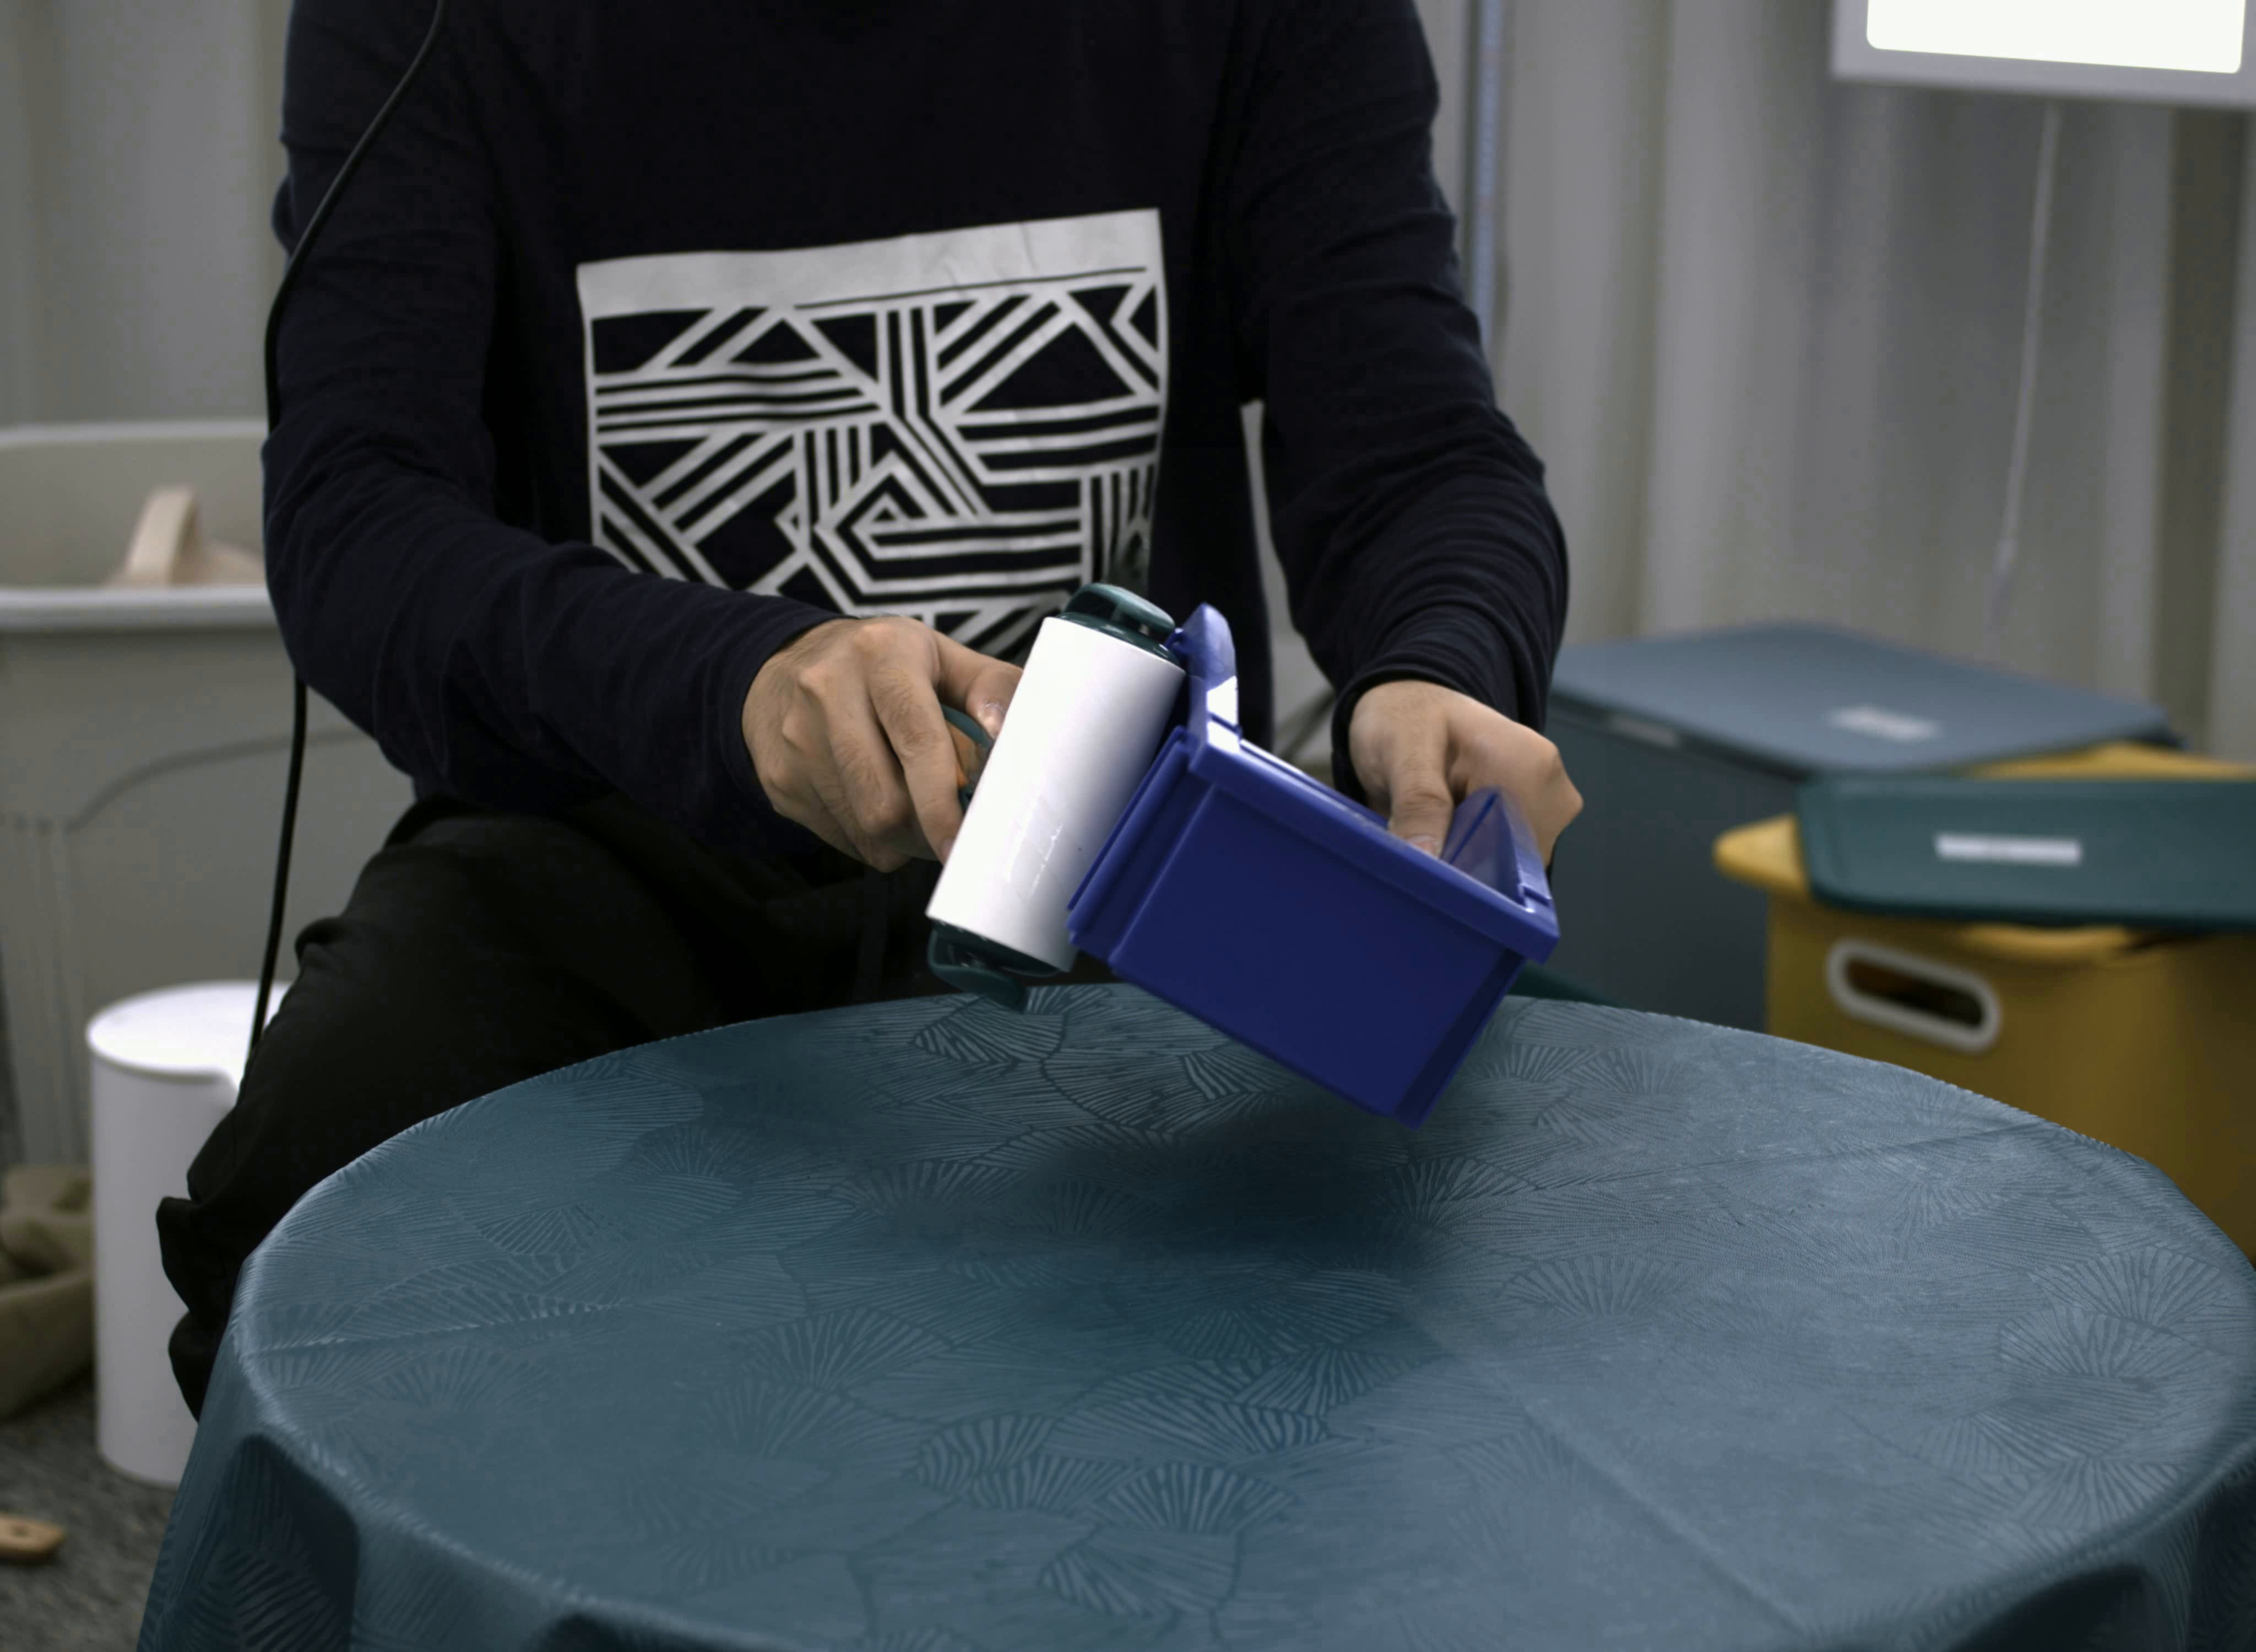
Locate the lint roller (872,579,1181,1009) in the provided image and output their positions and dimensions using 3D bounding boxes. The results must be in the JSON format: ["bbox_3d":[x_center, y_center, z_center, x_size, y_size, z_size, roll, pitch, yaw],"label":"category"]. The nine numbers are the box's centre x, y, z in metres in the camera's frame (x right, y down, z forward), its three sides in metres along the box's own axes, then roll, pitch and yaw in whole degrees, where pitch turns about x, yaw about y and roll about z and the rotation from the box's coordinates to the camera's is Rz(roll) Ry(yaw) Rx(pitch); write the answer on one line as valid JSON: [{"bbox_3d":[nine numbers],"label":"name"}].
[{"bbox_3d":[-0.054,-0.018,1.663,0.049,0.134,0.178,22,-4,-31],"label":"lint roller"}]

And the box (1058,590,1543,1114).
[{"bbox_3d":[0.053,0.003,1.618,0.125,0.082,0.178,29,19,-7],"label":"box"}]
